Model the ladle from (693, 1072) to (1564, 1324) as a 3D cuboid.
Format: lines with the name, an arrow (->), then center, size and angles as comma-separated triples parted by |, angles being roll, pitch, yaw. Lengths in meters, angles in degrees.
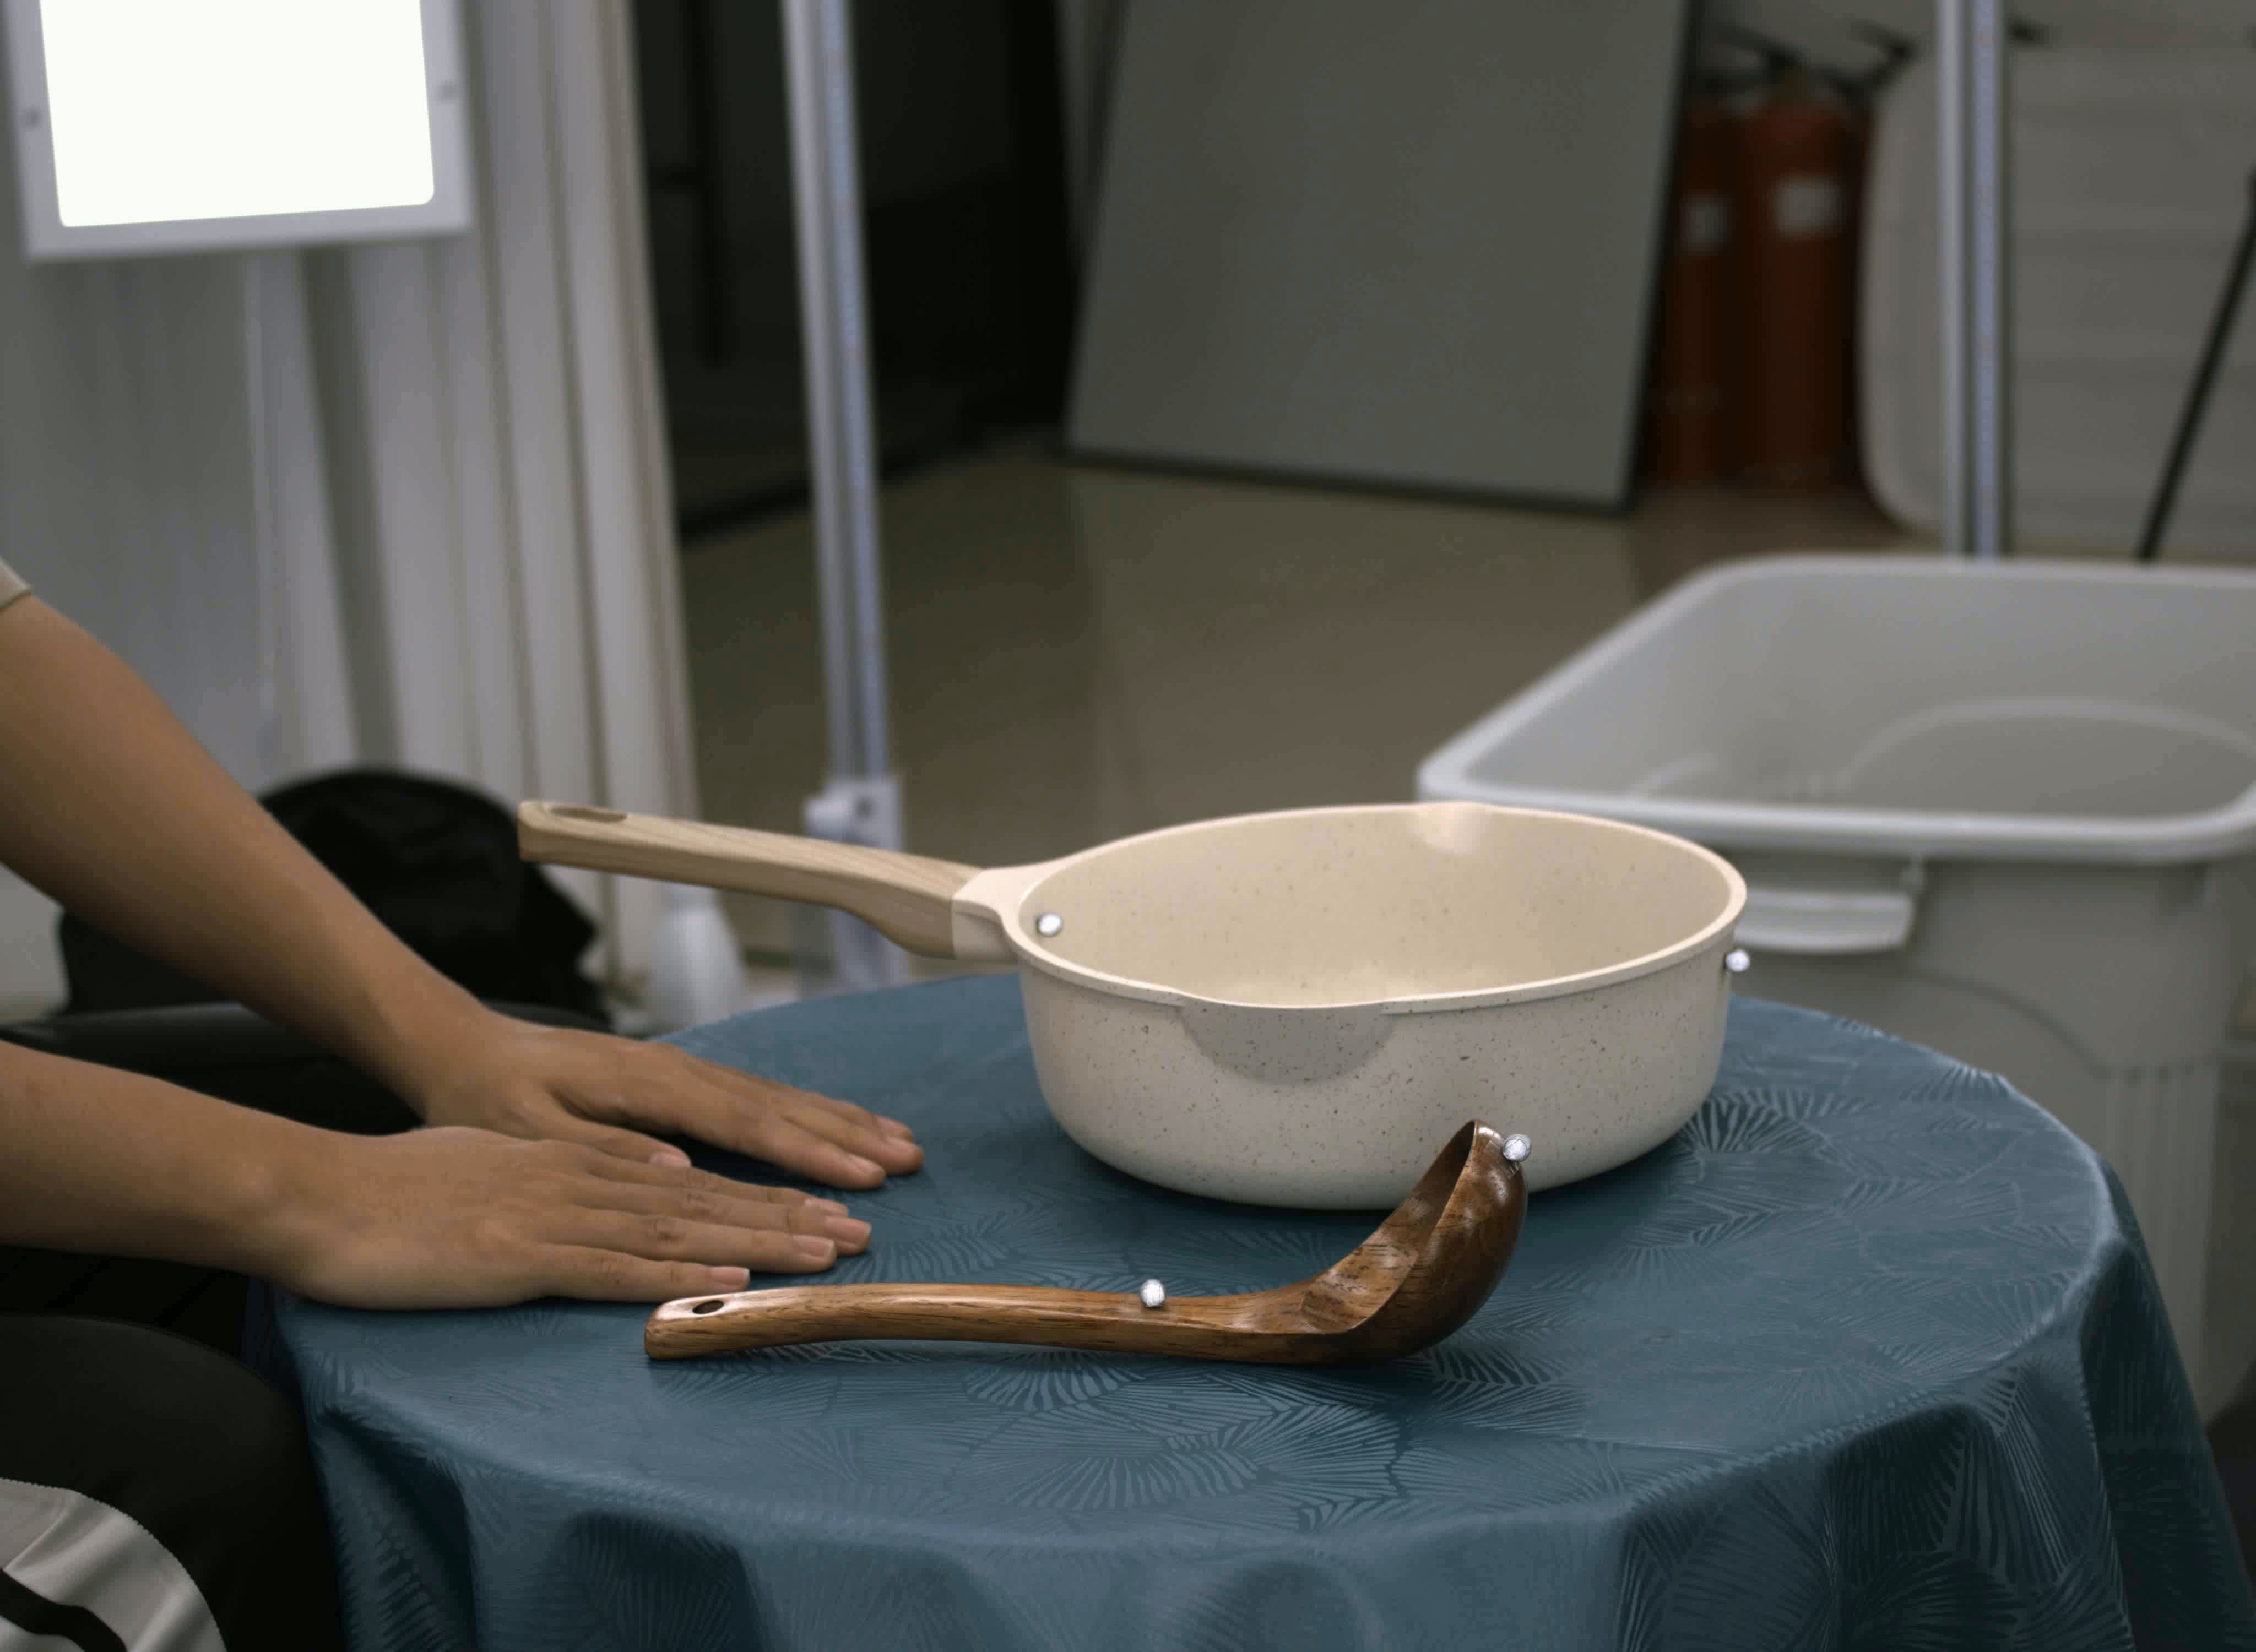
ladle -> -0.003, 0.112, 1.619 | 0.272, 0.077, 0.081 | 0, 16, 14

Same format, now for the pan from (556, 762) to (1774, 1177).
pan -> 0.009, 0.043, 1.861 | 0.433, 0.103, 0.261 | 0, 16, 18
